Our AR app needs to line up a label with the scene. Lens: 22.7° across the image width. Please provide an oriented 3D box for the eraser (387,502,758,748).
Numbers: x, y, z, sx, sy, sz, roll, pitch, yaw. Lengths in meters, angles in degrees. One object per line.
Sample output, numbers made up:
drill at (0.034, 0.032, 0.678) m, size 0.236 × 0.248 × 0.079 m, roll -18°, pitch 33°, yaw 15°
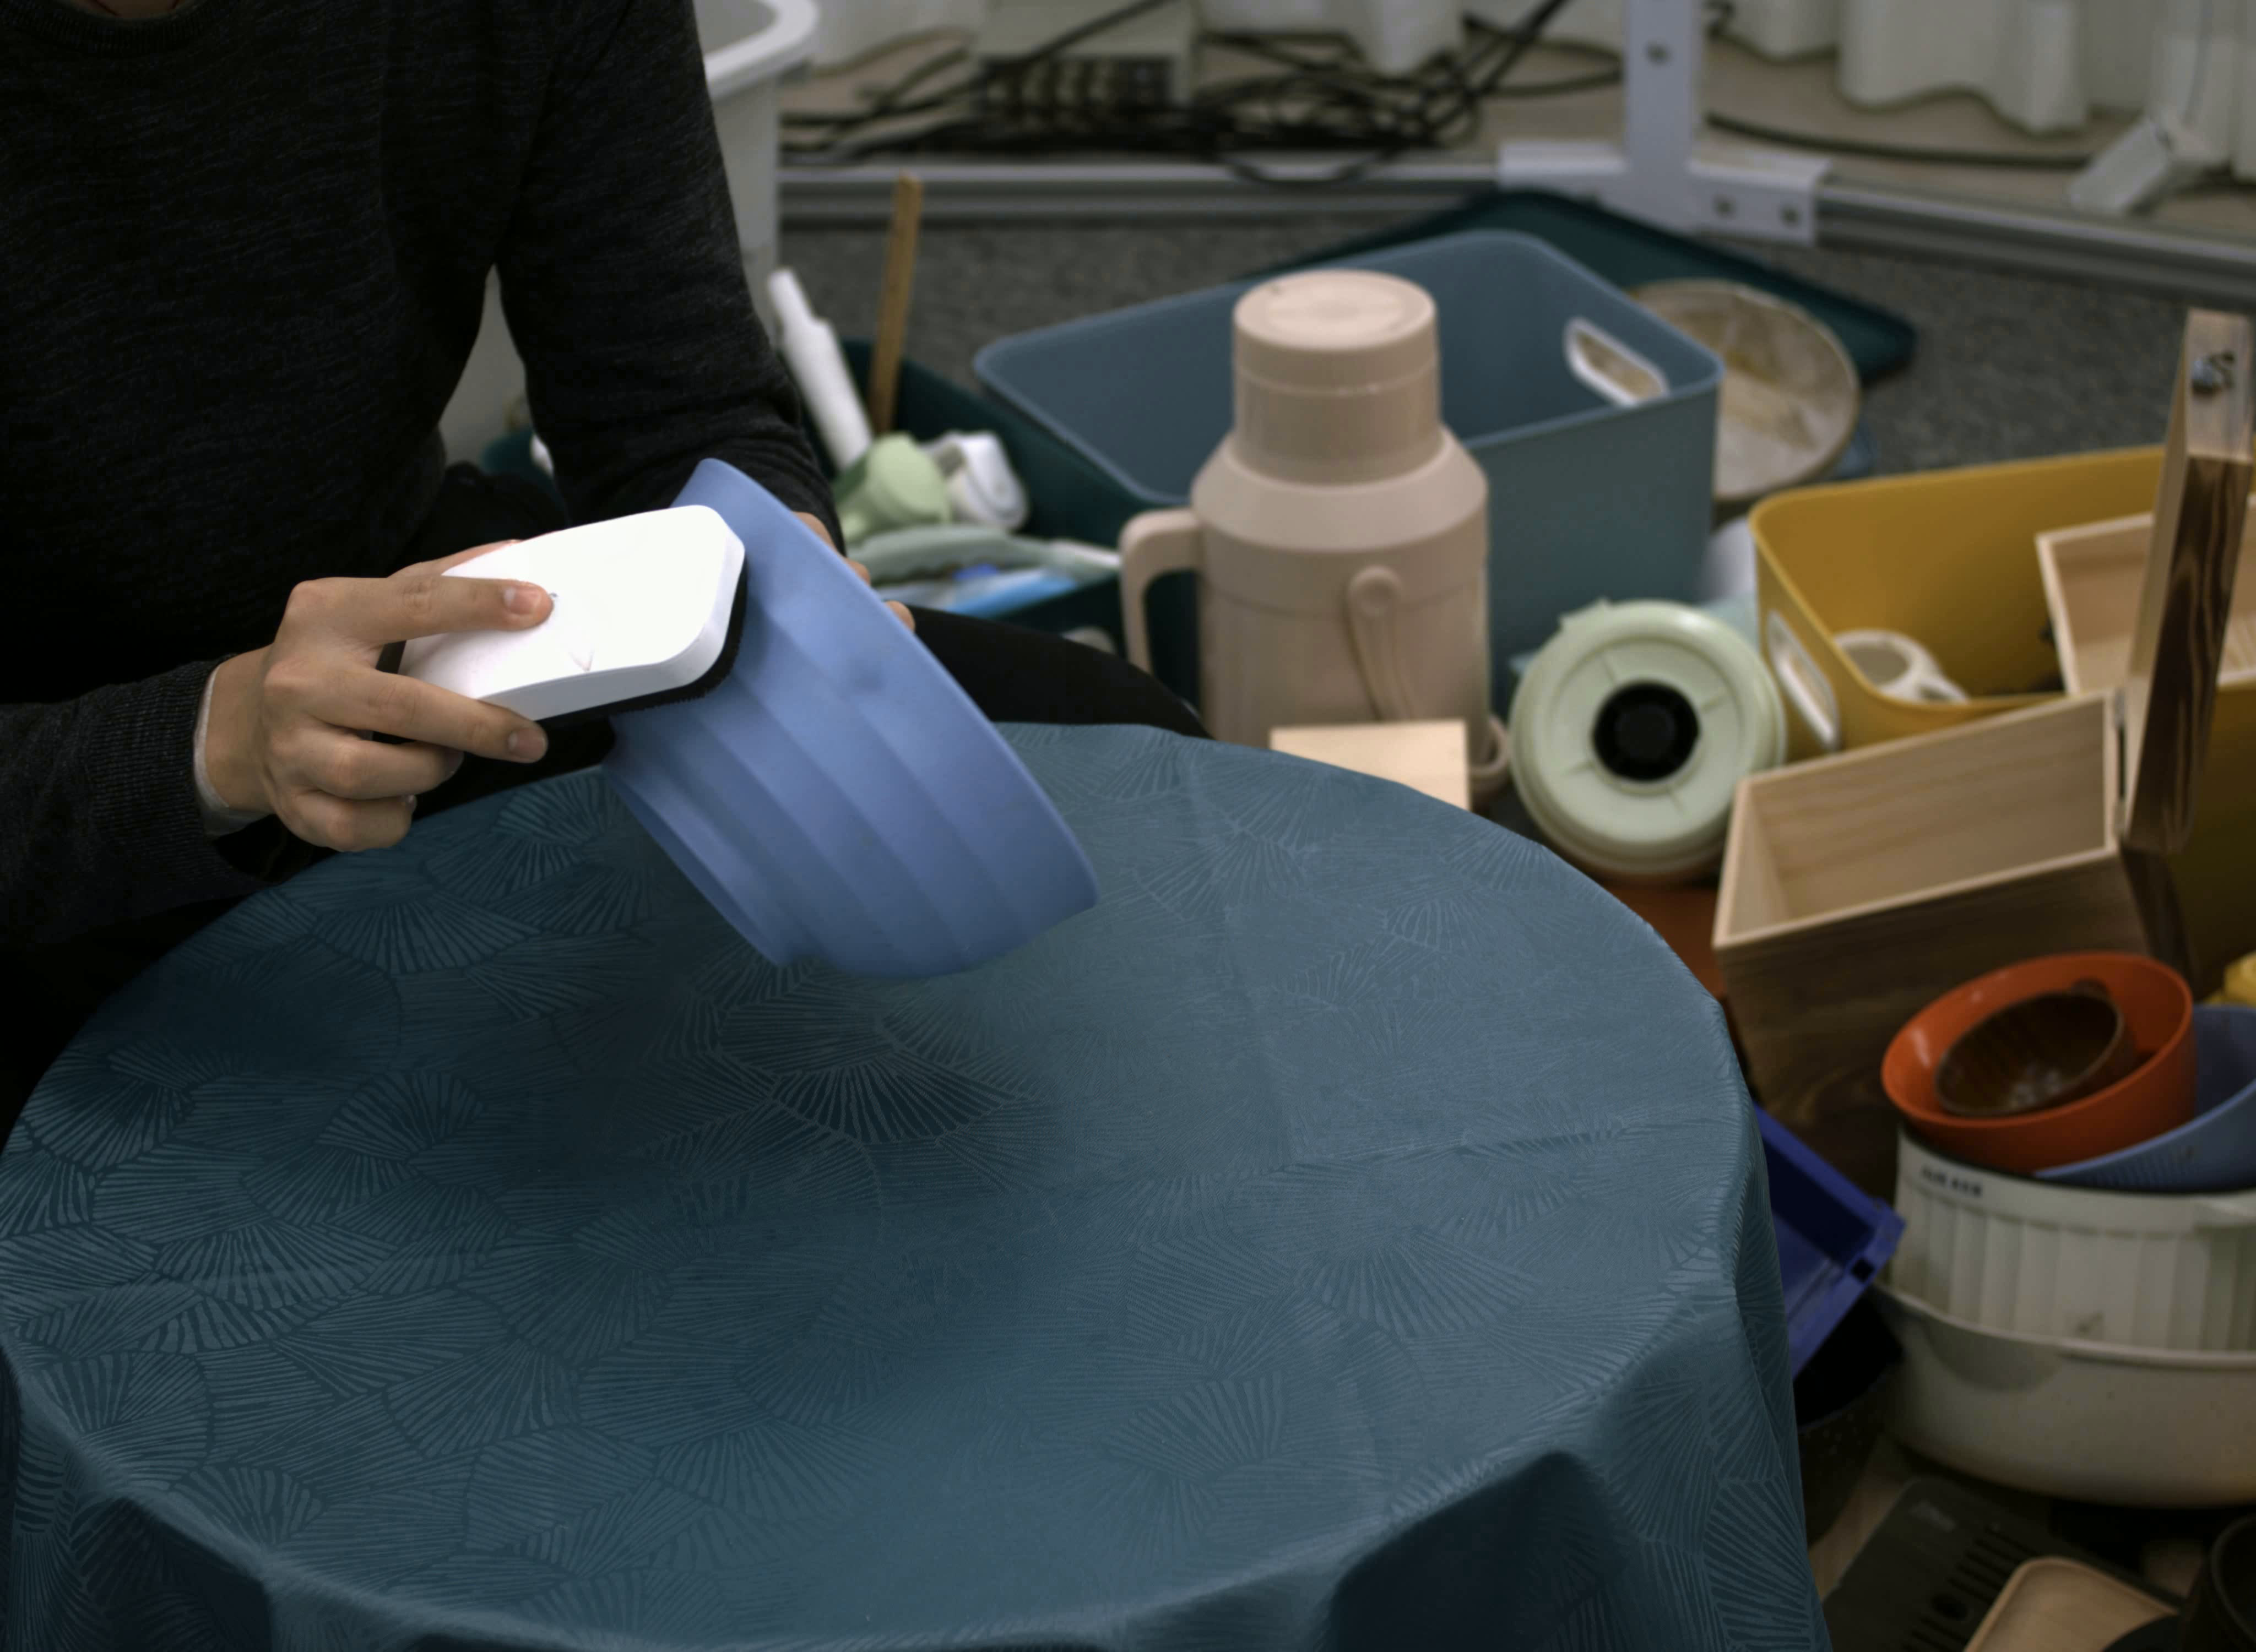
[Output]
eraser at (-0.178, -0.065, 1.795) m, size 0.129 × 0.034 × 0.064 m, roll -11°, pitch 50°, yaw 33°

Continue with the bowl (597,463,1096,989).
bowl at (-0.111, -0.016, 1.855) m, size 0.096 × 0.194 × 0.197 m, roll -42°, pitch 37°, yaw -8°
